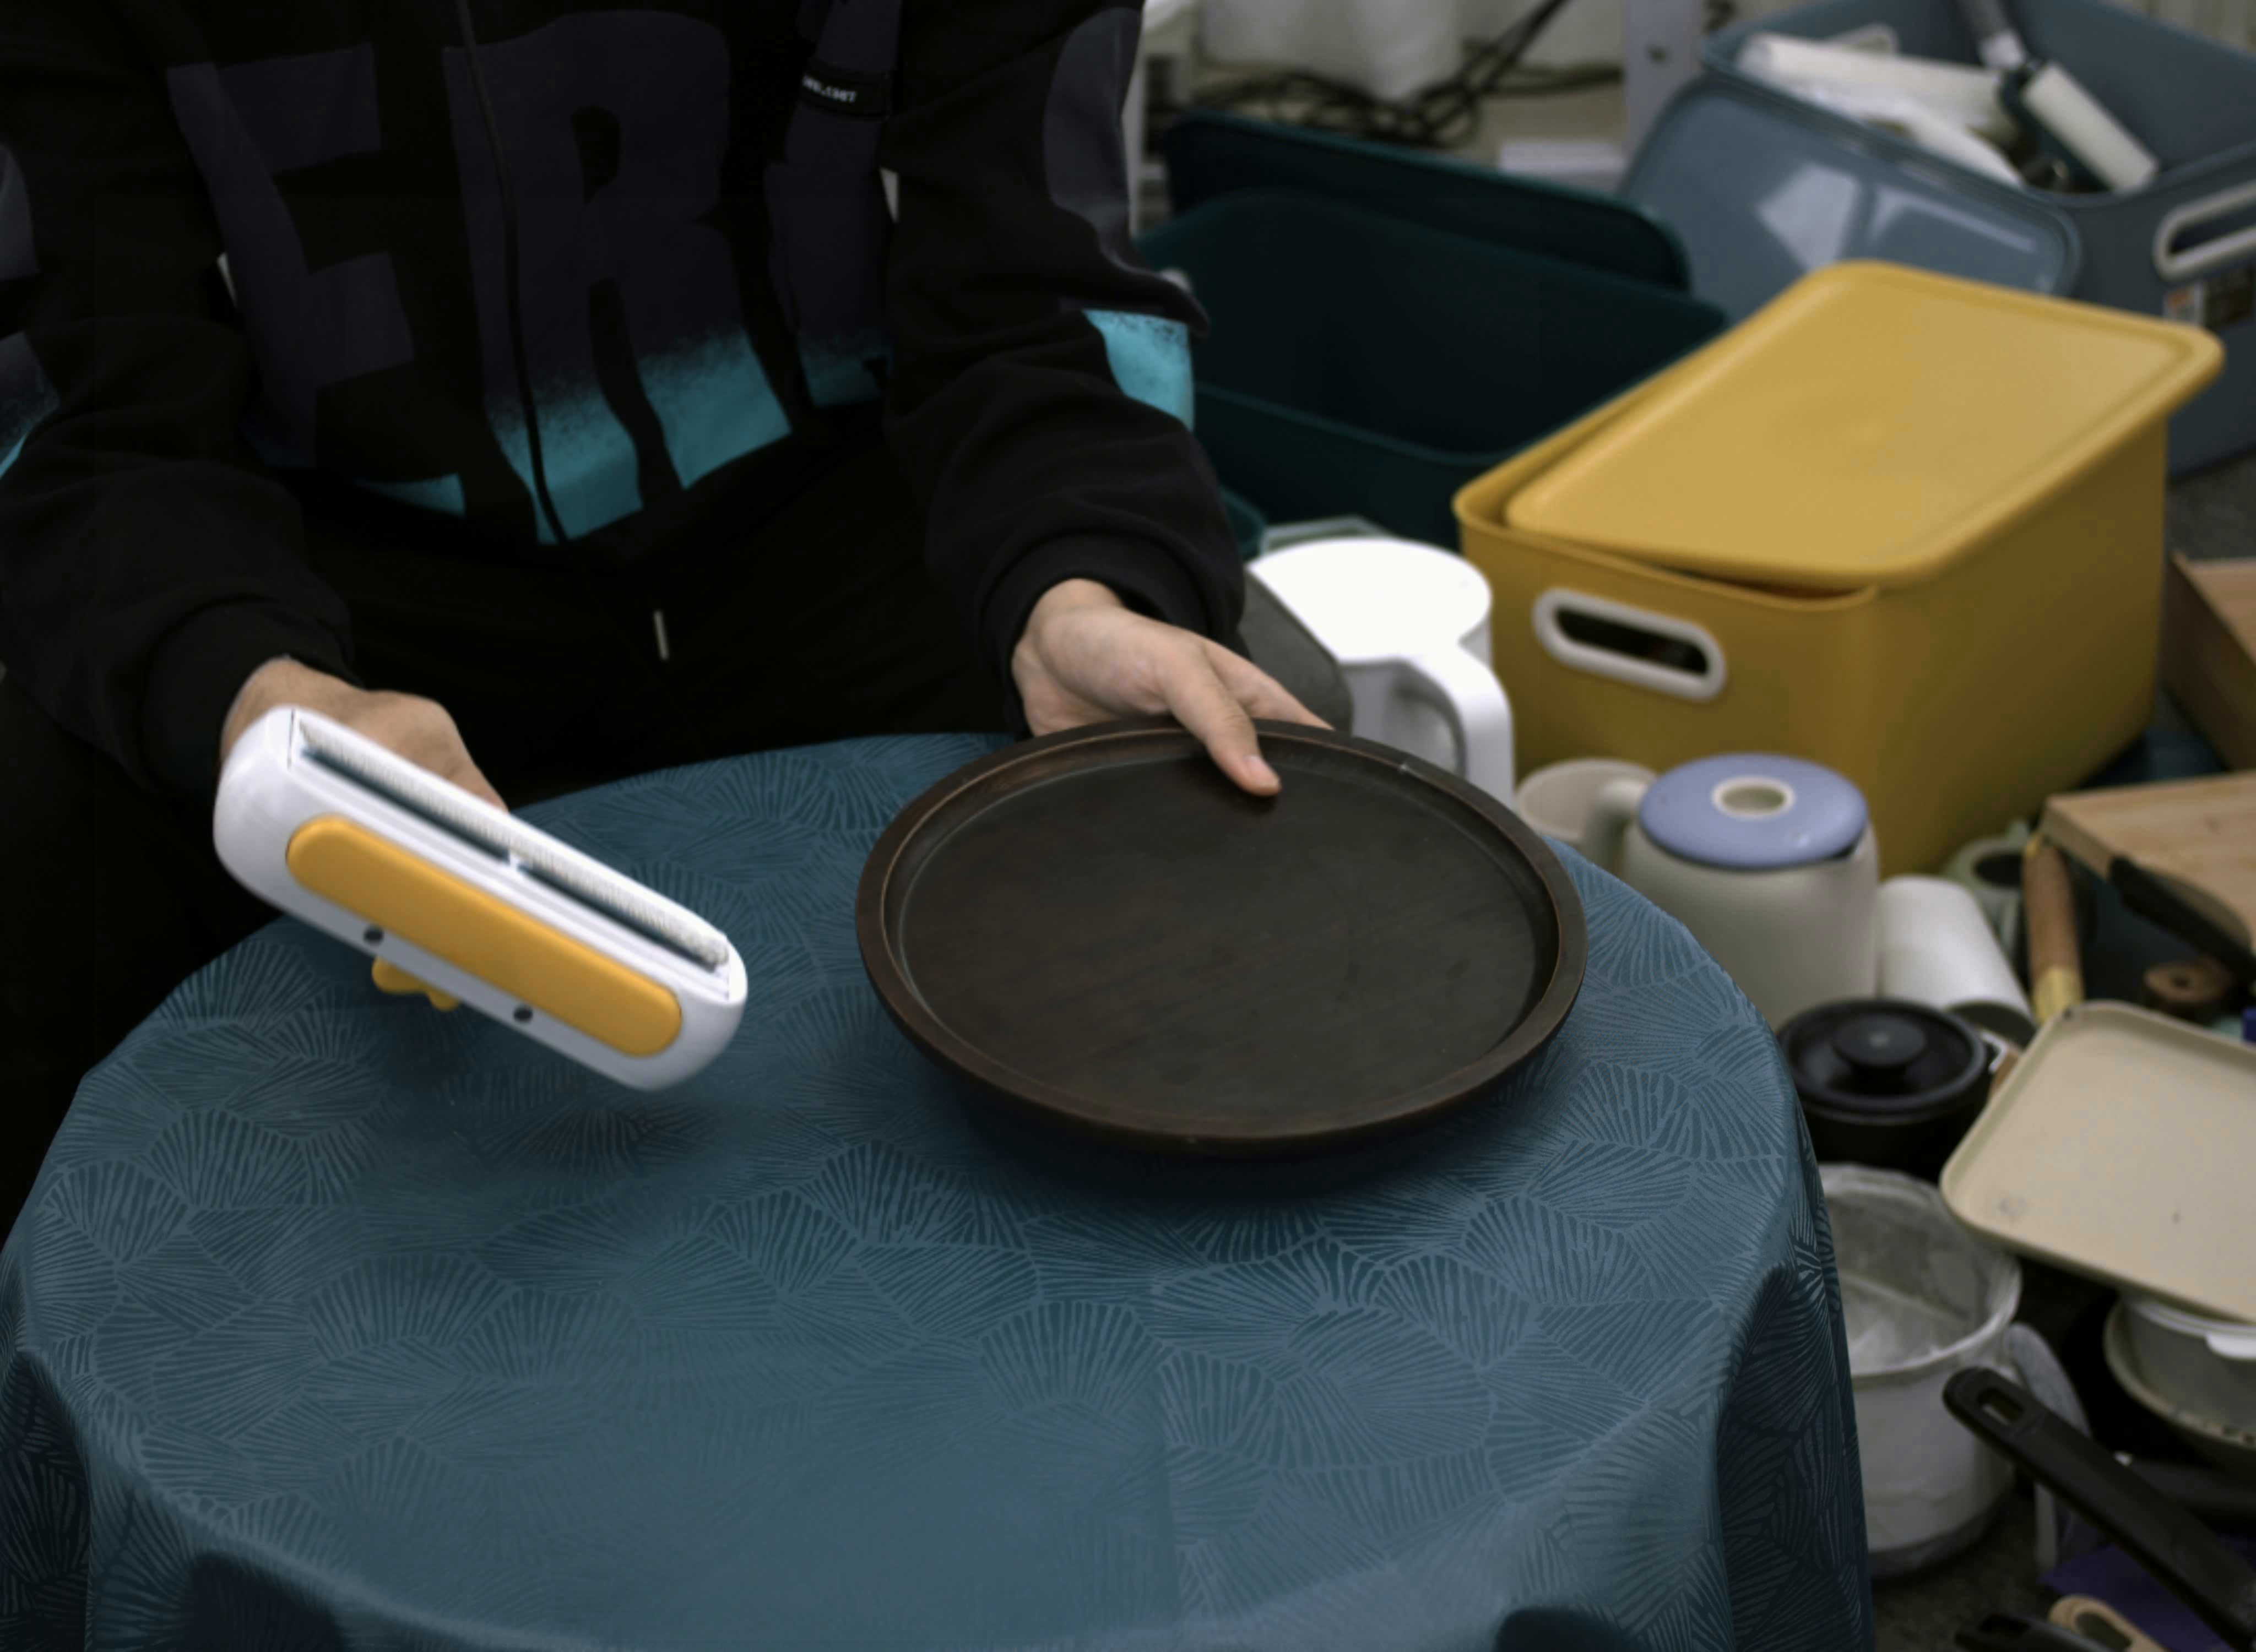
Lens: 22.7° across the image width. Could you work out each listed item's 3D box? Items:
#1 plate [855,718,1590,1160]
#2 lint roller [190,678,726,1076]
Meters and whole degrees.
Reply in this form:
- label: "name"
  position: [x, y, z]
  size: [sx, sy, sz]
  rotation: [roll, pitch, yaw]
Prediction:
- label: "plate"
  position: [0.032, 0.037, 1.932]
  size: [0.253, 0.028, 0.259]
  rotation: [2, 31, -1]
- label: "lint roller"
  position: [-0.233, 0.008, 1.922]
  size: [0.192, 0.074, 0.194]
  rotation: [26, 11, -15]
